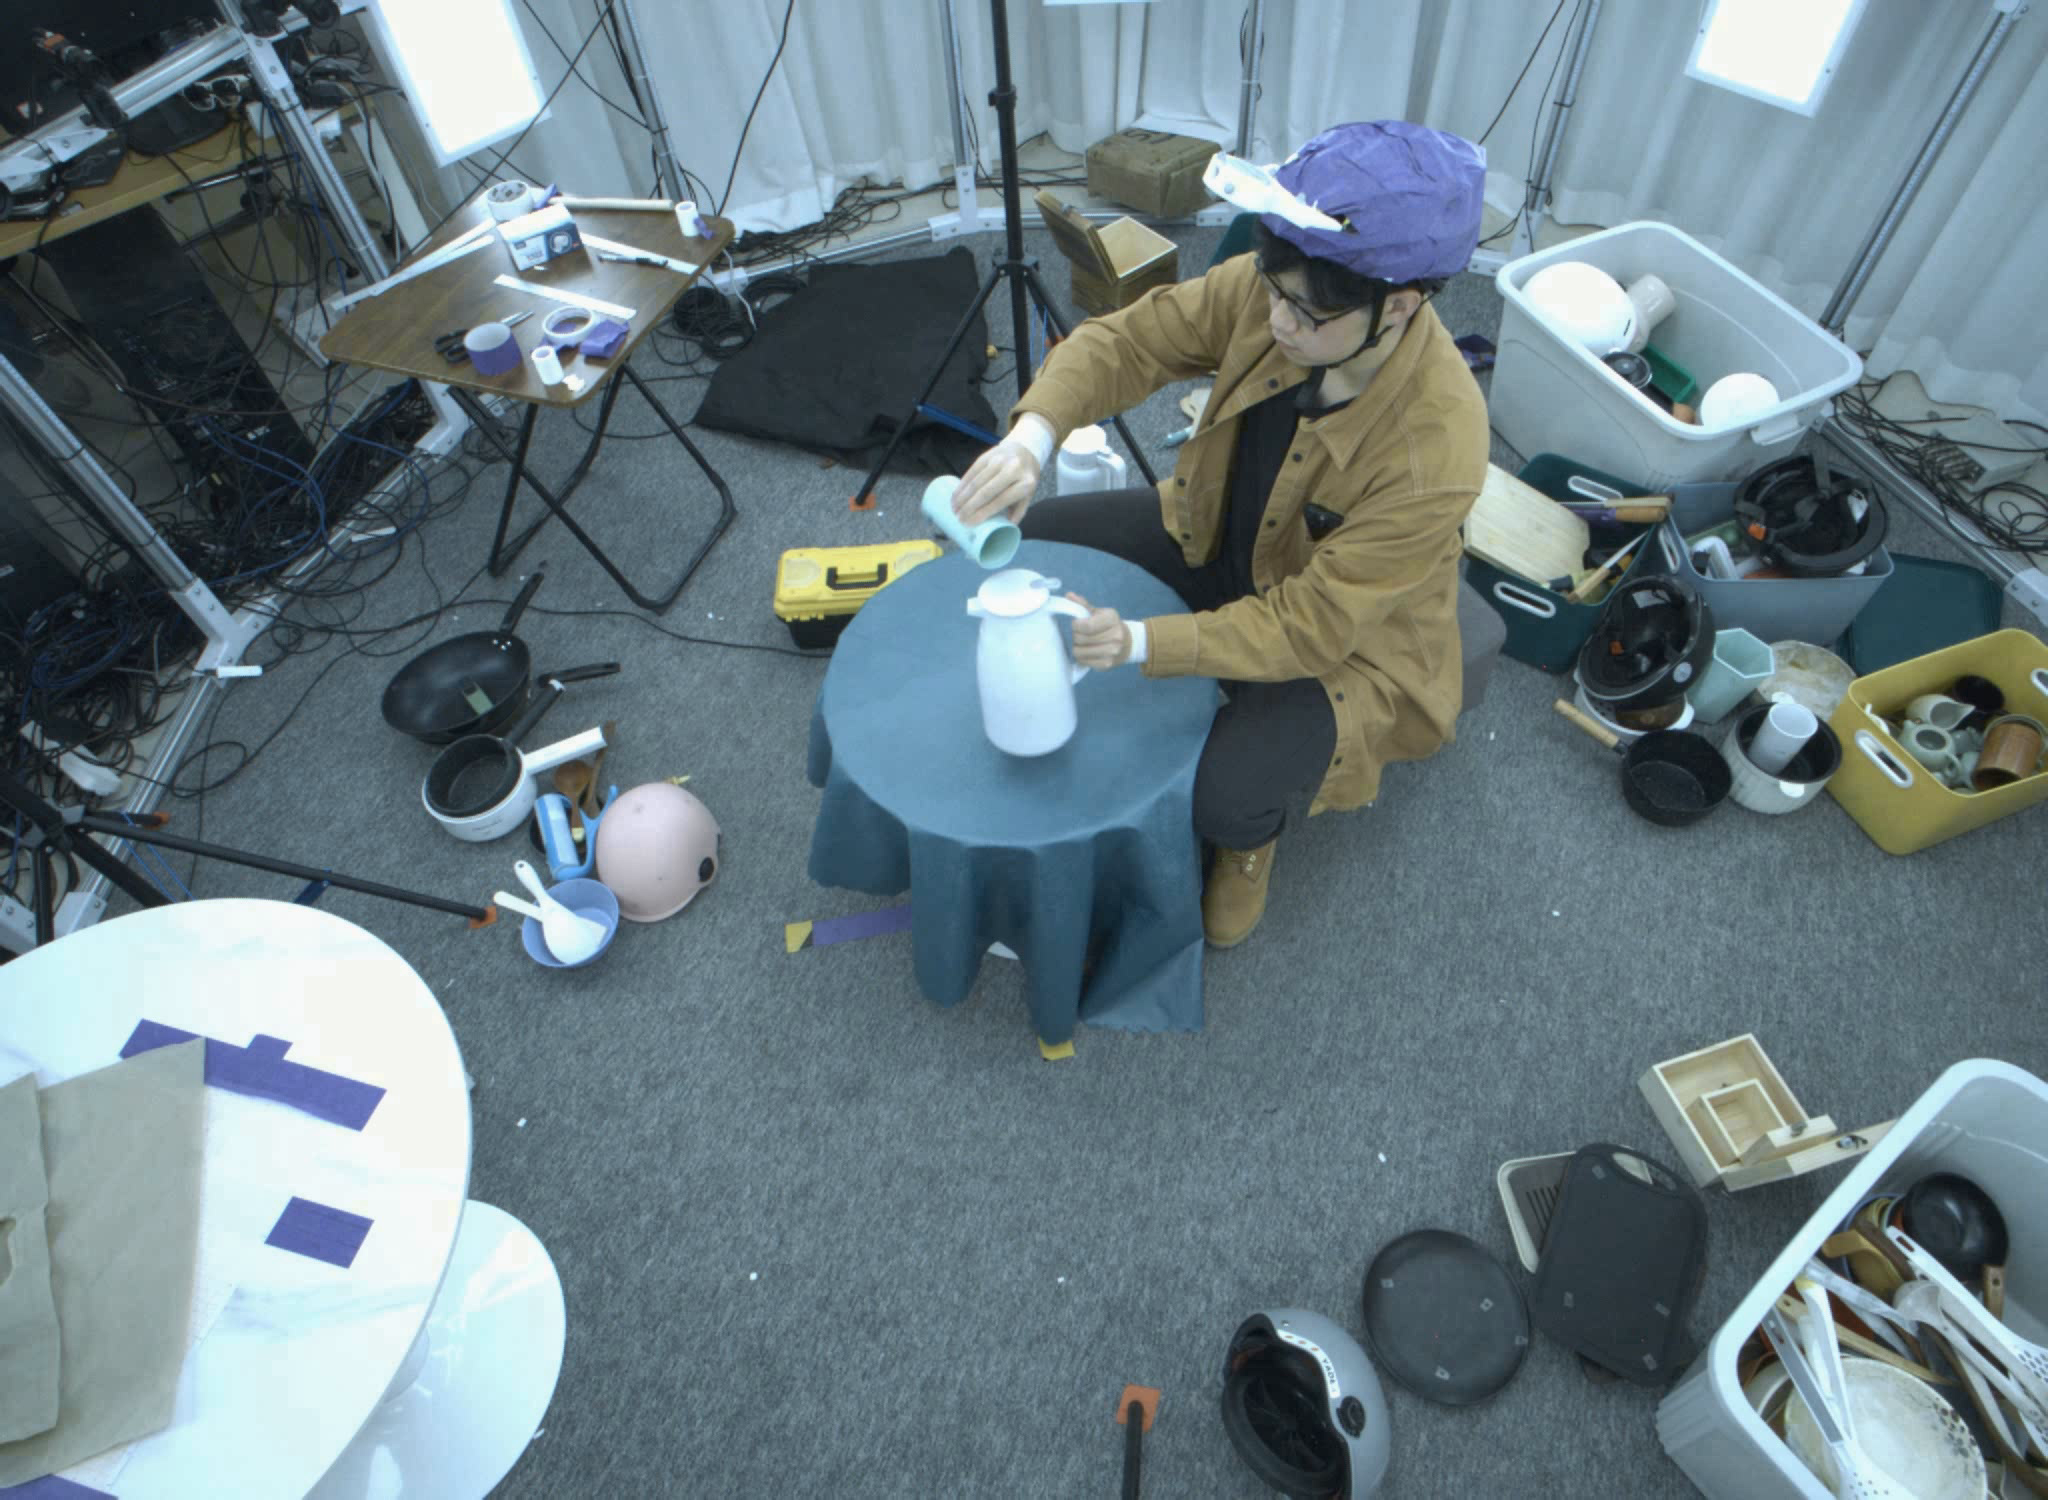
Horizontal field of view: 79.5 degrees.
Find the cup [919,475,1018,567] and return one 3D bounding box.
[{"bbox_3d":[-0.072,-0.295,1.554,0.067,0.067,0.130,-33,58,-19],"label":"cup"}]

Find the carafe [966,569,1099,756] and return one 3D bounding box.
[{"bbox_3d":[0.017,-0.125,1.641,0.168,0.252,0.131,-6,48,1],"label":"carafe"}]
